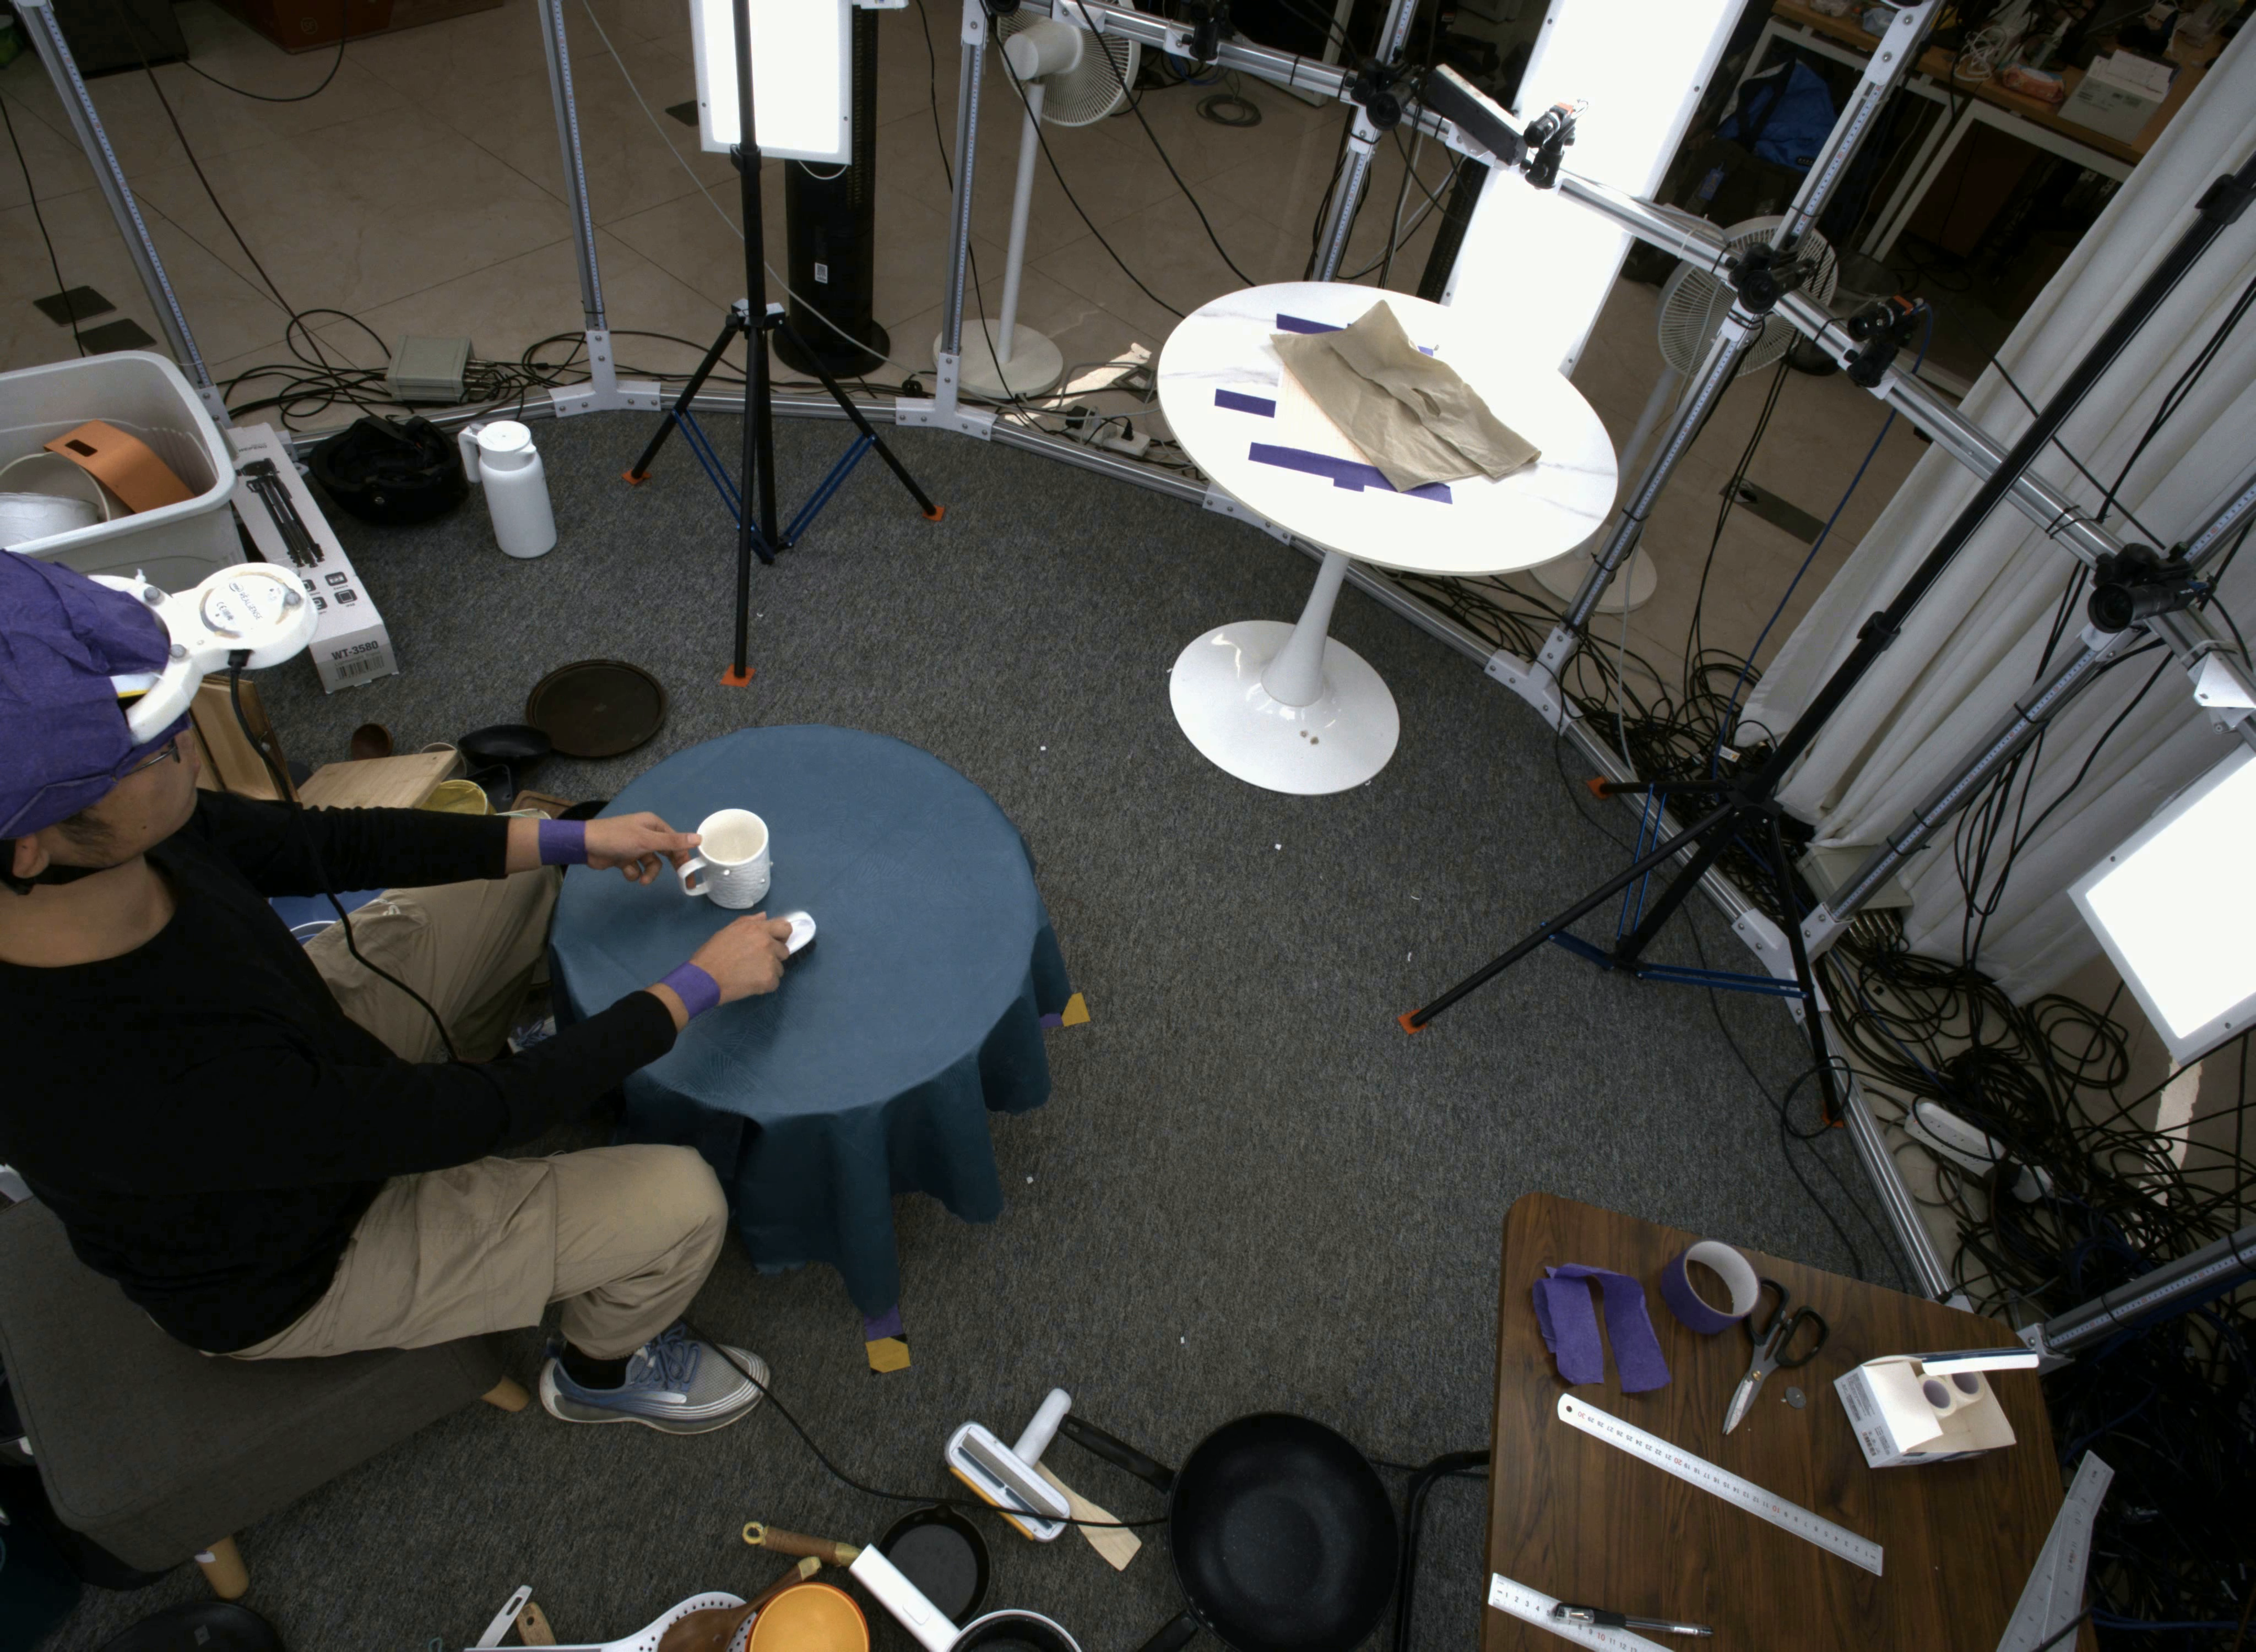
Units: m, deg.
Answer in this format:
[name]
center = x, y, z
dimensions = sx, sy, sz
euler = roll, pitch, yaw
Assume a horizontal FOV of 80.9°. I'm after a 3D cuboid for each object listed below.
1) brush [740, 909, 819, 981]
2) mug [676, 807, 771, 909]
[brush]
center = -0.426, 0.136, 1.578
dimensions = 0.099, 0.074, 0.049
euler = -29, 61, -31
[mug]
center = -0.504, 0.048, 1.606
dimensions = 0.118, 0.104, 0.083
euler = -32, 65, -30
